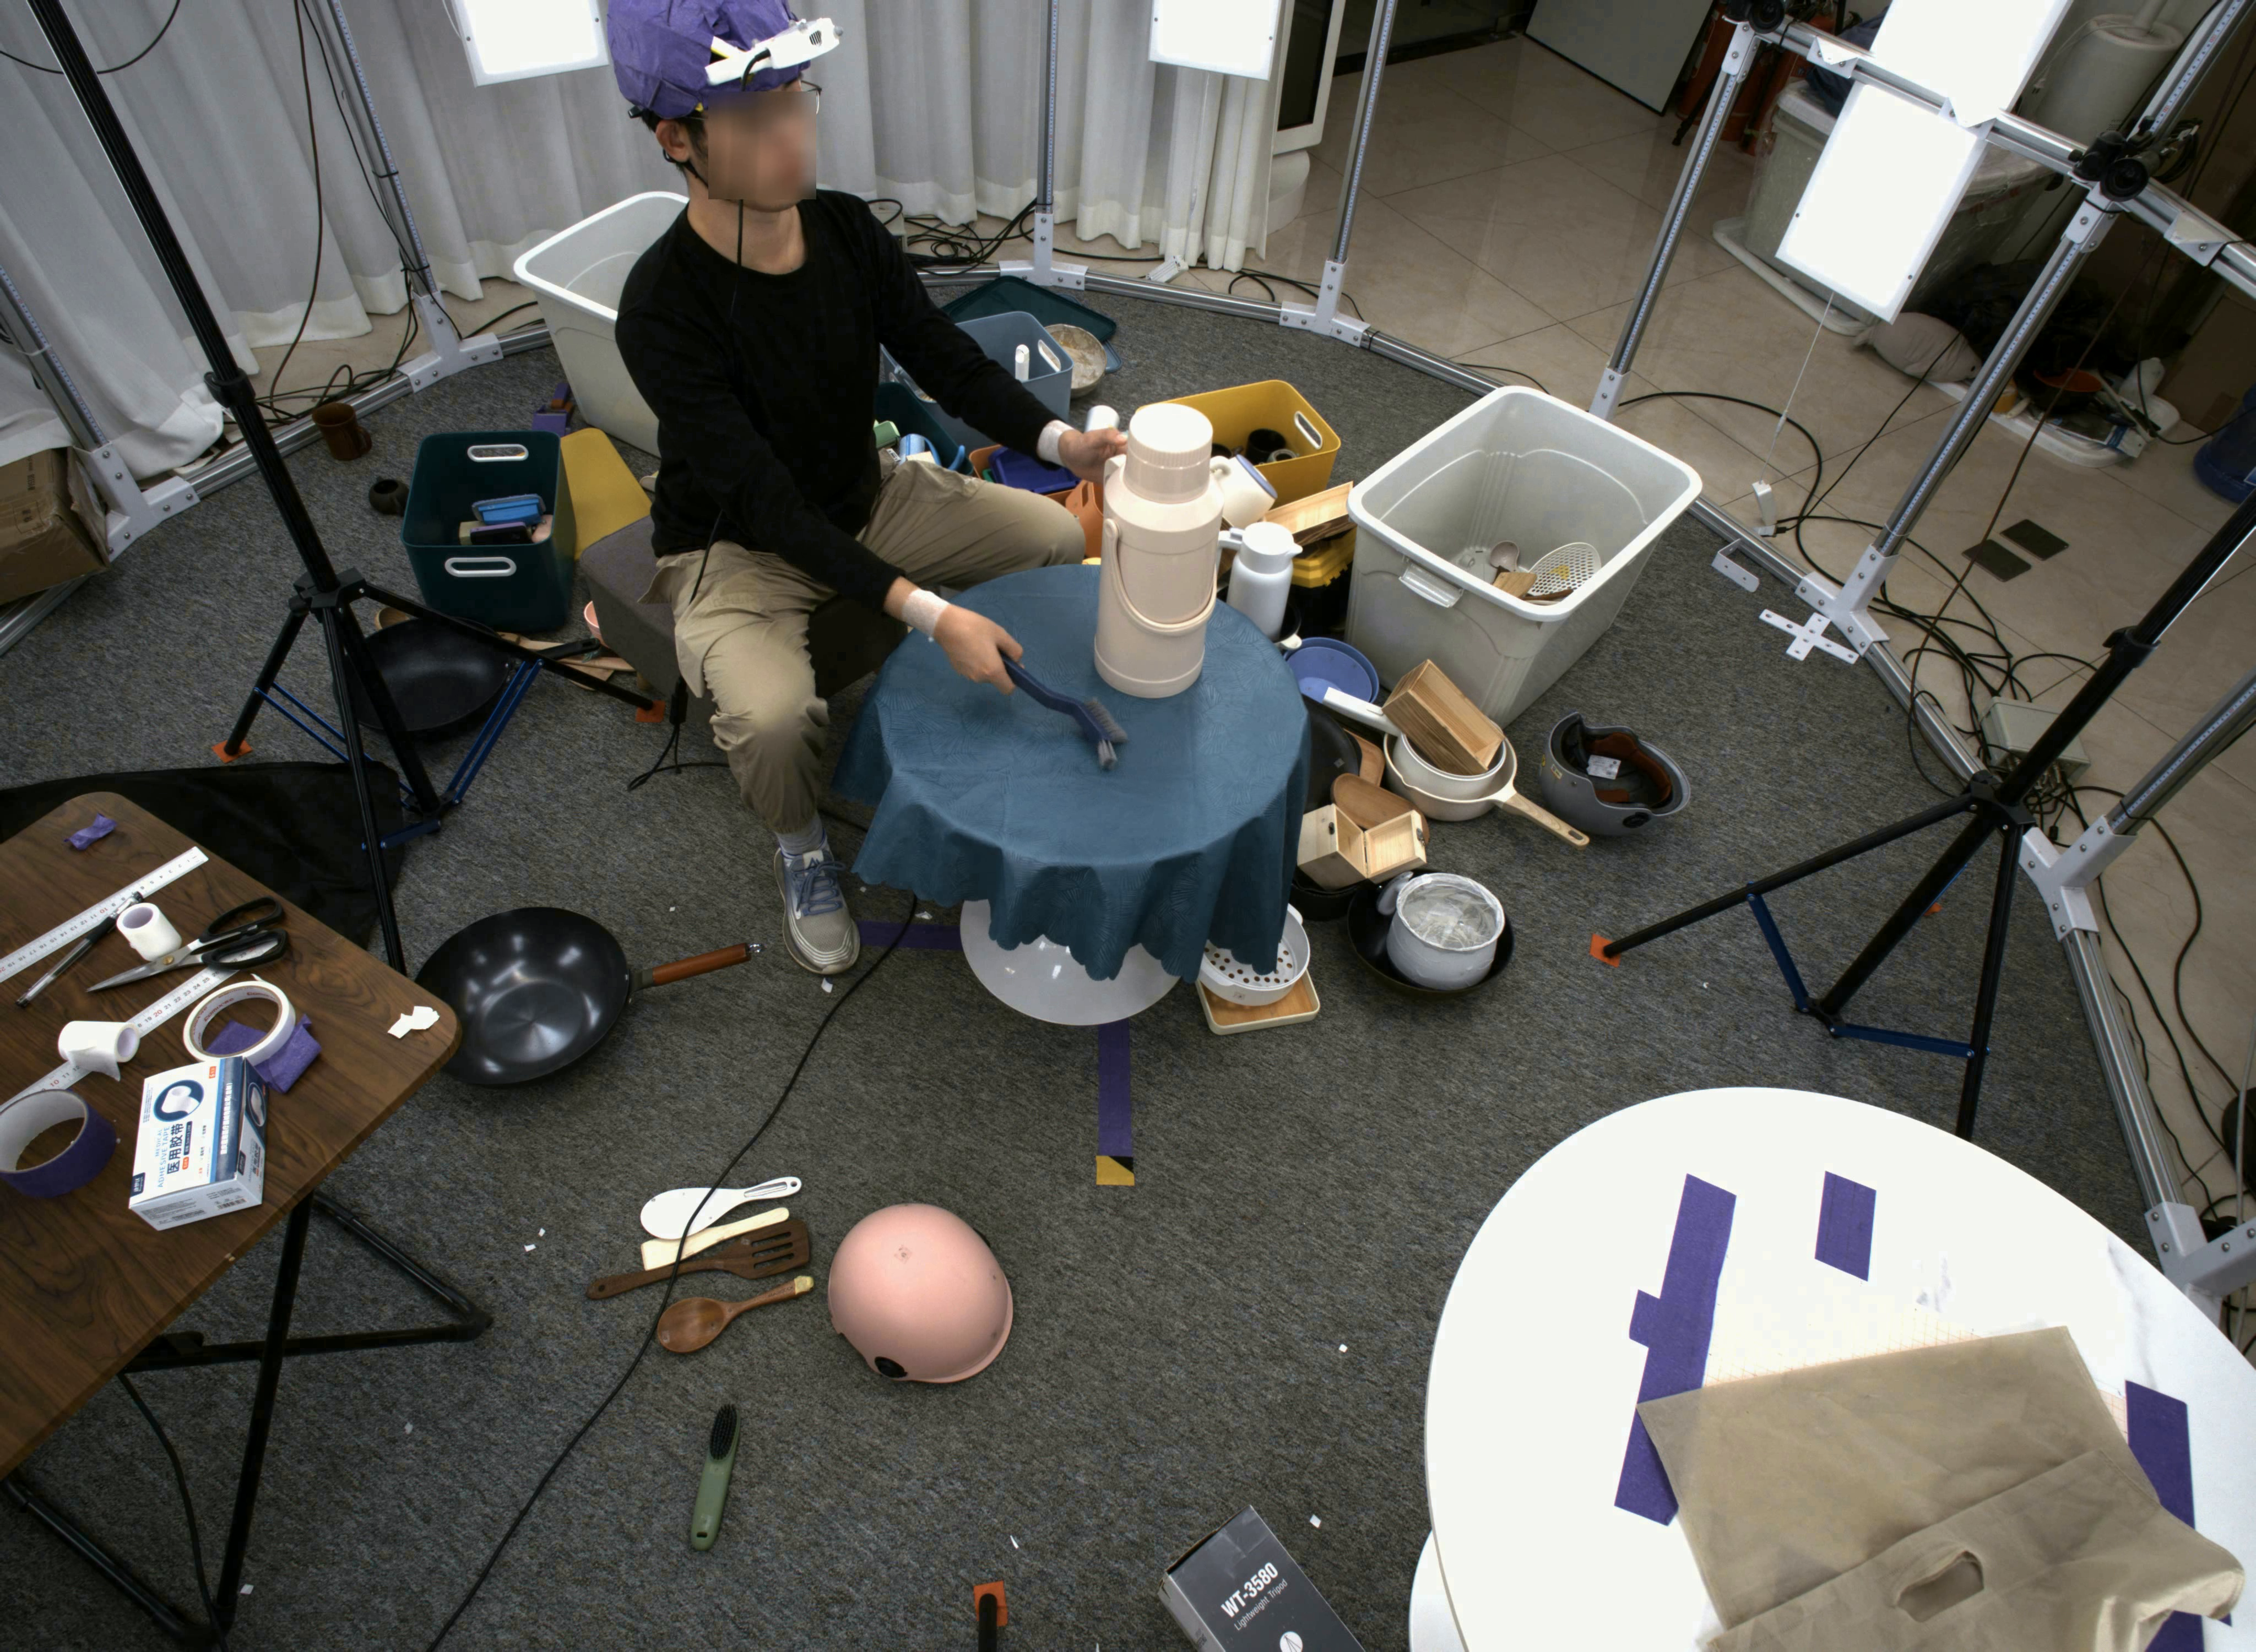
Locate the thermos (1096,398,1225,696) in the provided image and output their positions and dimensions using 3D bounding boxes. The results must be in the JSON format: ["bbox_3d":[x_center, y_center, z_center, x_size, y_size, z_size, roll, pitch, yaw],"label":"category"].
[{"bbox_3d":[0.035,-0.380,1.746,0.176,0.396,0.211,-28,57,-23],"label":"thermos"}]

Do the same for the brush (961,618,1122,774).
[{"bbox_3d":[-0.124,-0.180,1.745,0.273,0.033,0.097,34,49,-1],"label":"brush"}]
